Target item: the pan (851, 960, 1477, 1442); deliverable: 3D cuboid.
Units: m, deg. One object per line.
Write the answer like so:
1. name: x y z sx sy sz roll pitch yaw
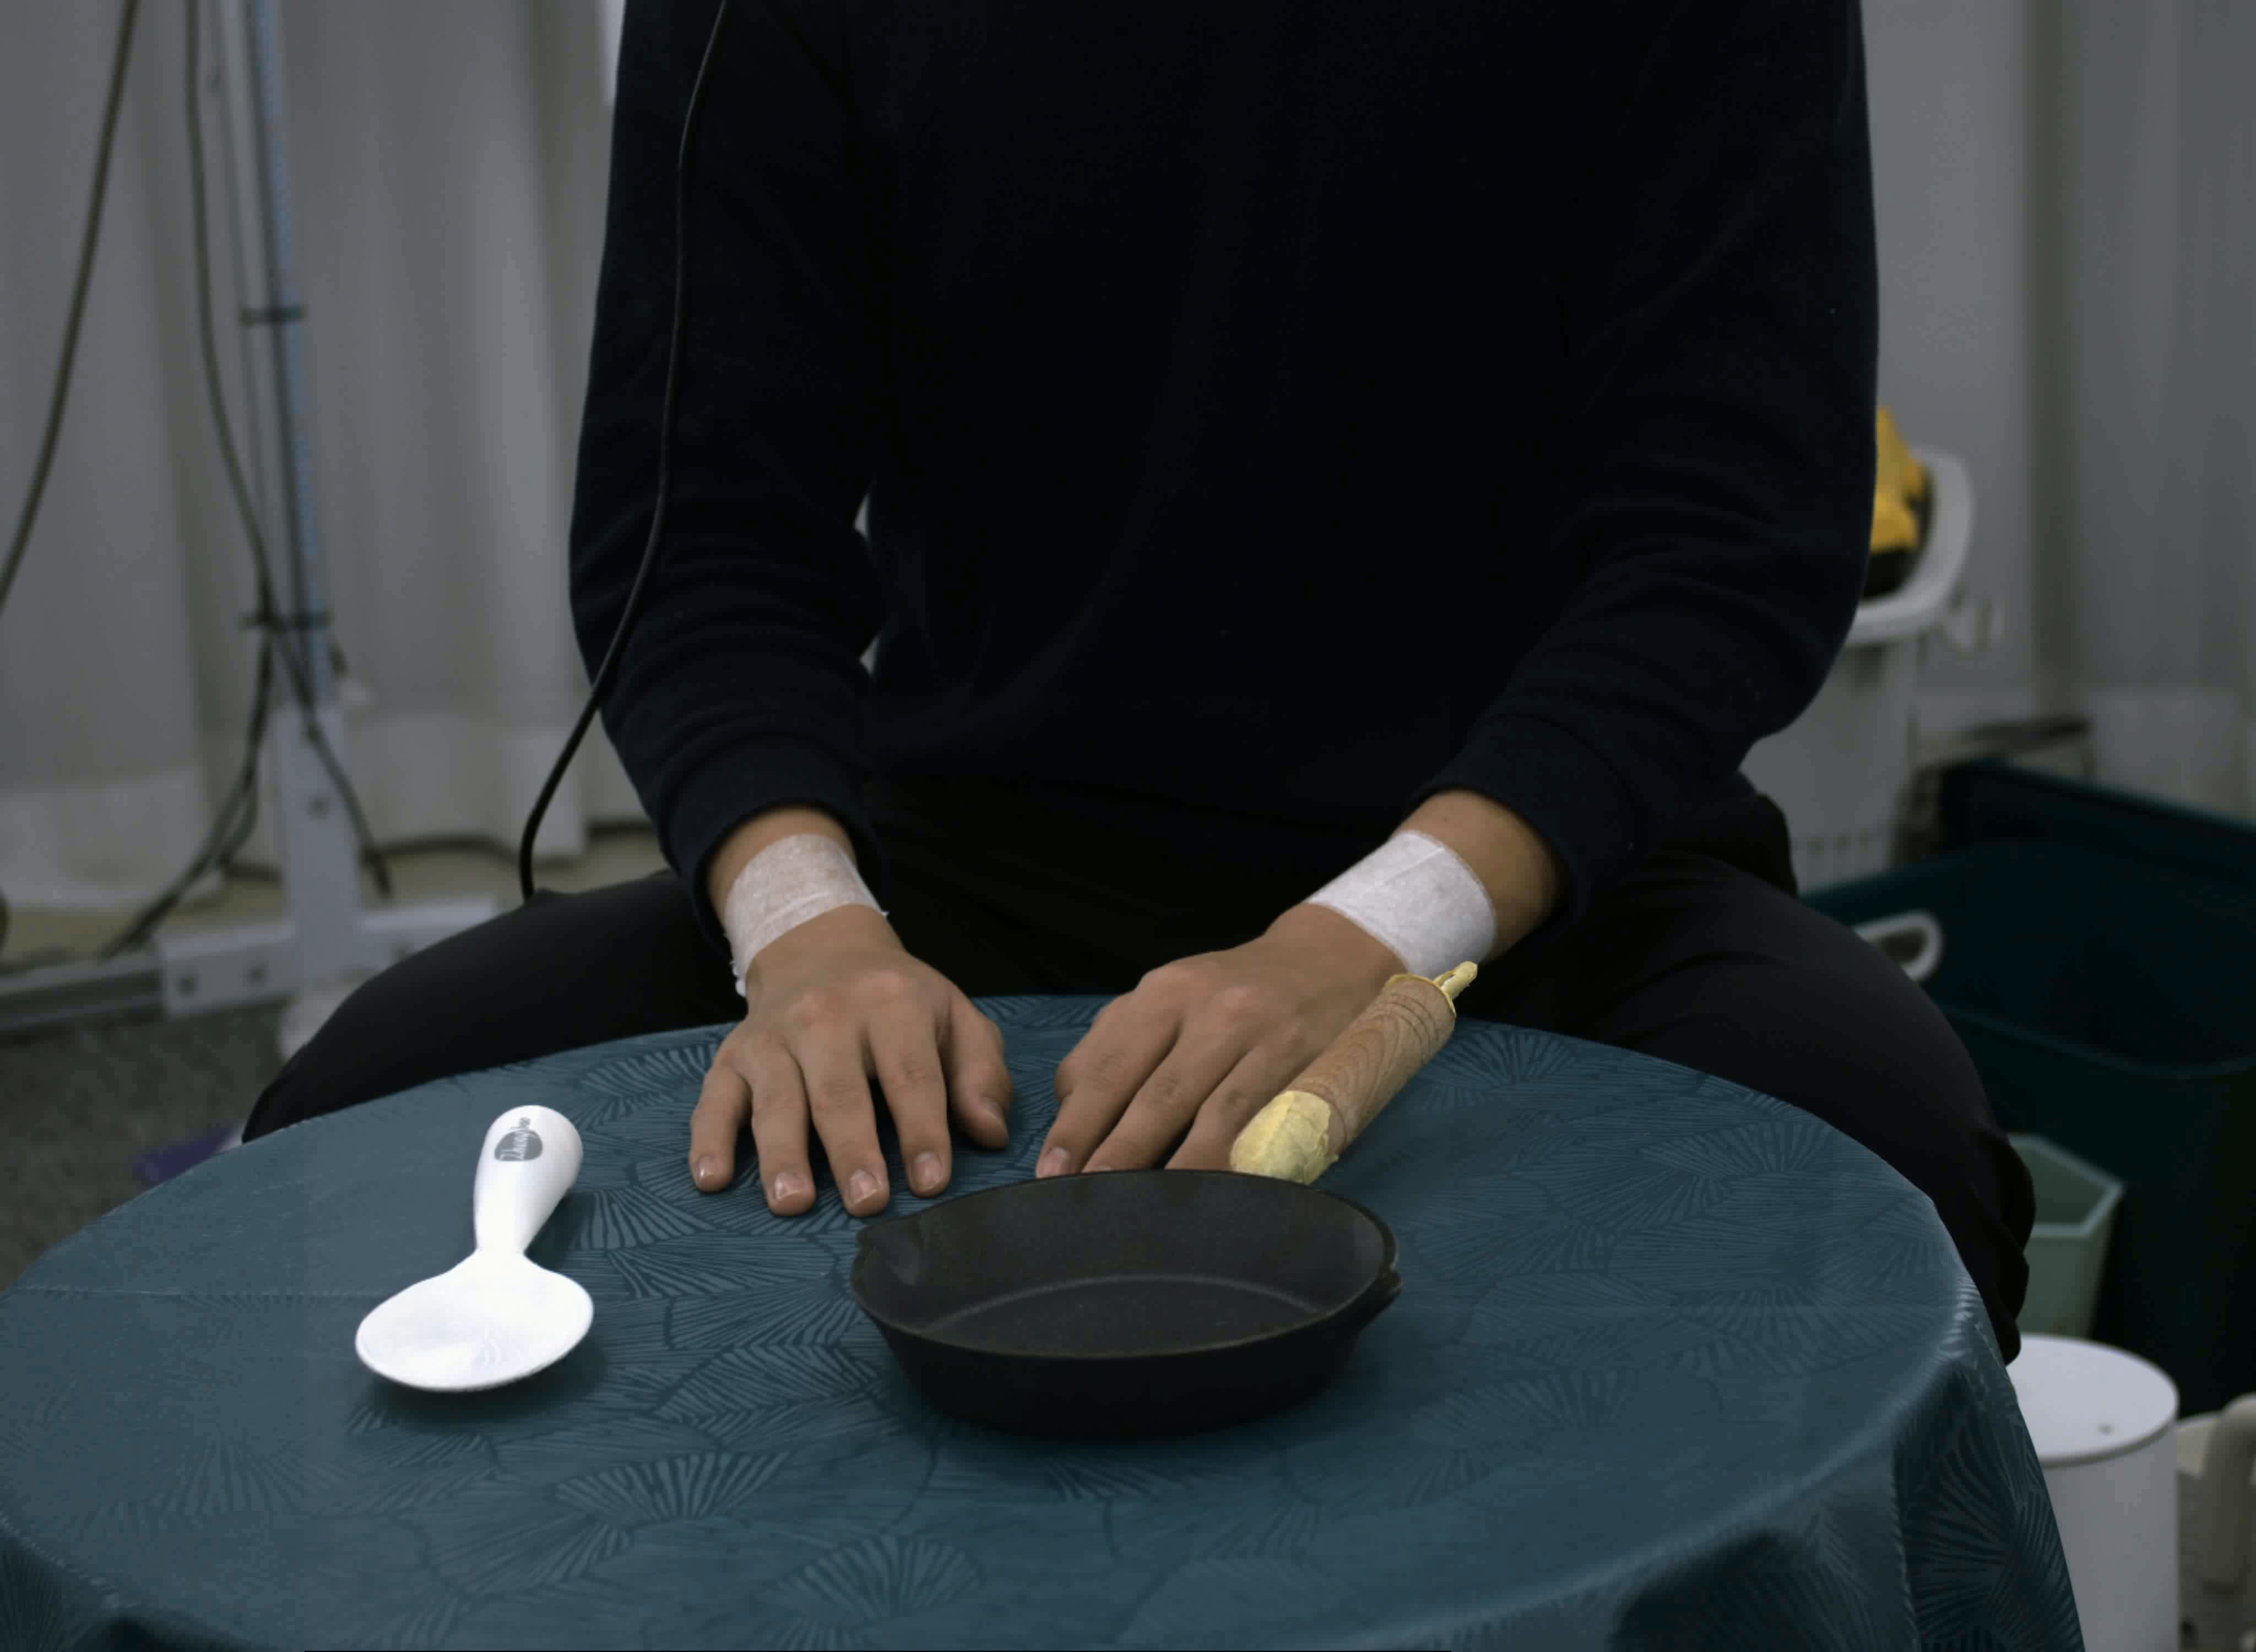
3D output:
1. pan: 0.038 0.109 1.634 0.169 0.049 0.325 5 18 27

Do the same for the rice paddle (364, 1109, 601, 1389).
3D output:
1. rice paddle: -0.188 0.129 1.643 0.068 0.029 0.206 -5 15 0
